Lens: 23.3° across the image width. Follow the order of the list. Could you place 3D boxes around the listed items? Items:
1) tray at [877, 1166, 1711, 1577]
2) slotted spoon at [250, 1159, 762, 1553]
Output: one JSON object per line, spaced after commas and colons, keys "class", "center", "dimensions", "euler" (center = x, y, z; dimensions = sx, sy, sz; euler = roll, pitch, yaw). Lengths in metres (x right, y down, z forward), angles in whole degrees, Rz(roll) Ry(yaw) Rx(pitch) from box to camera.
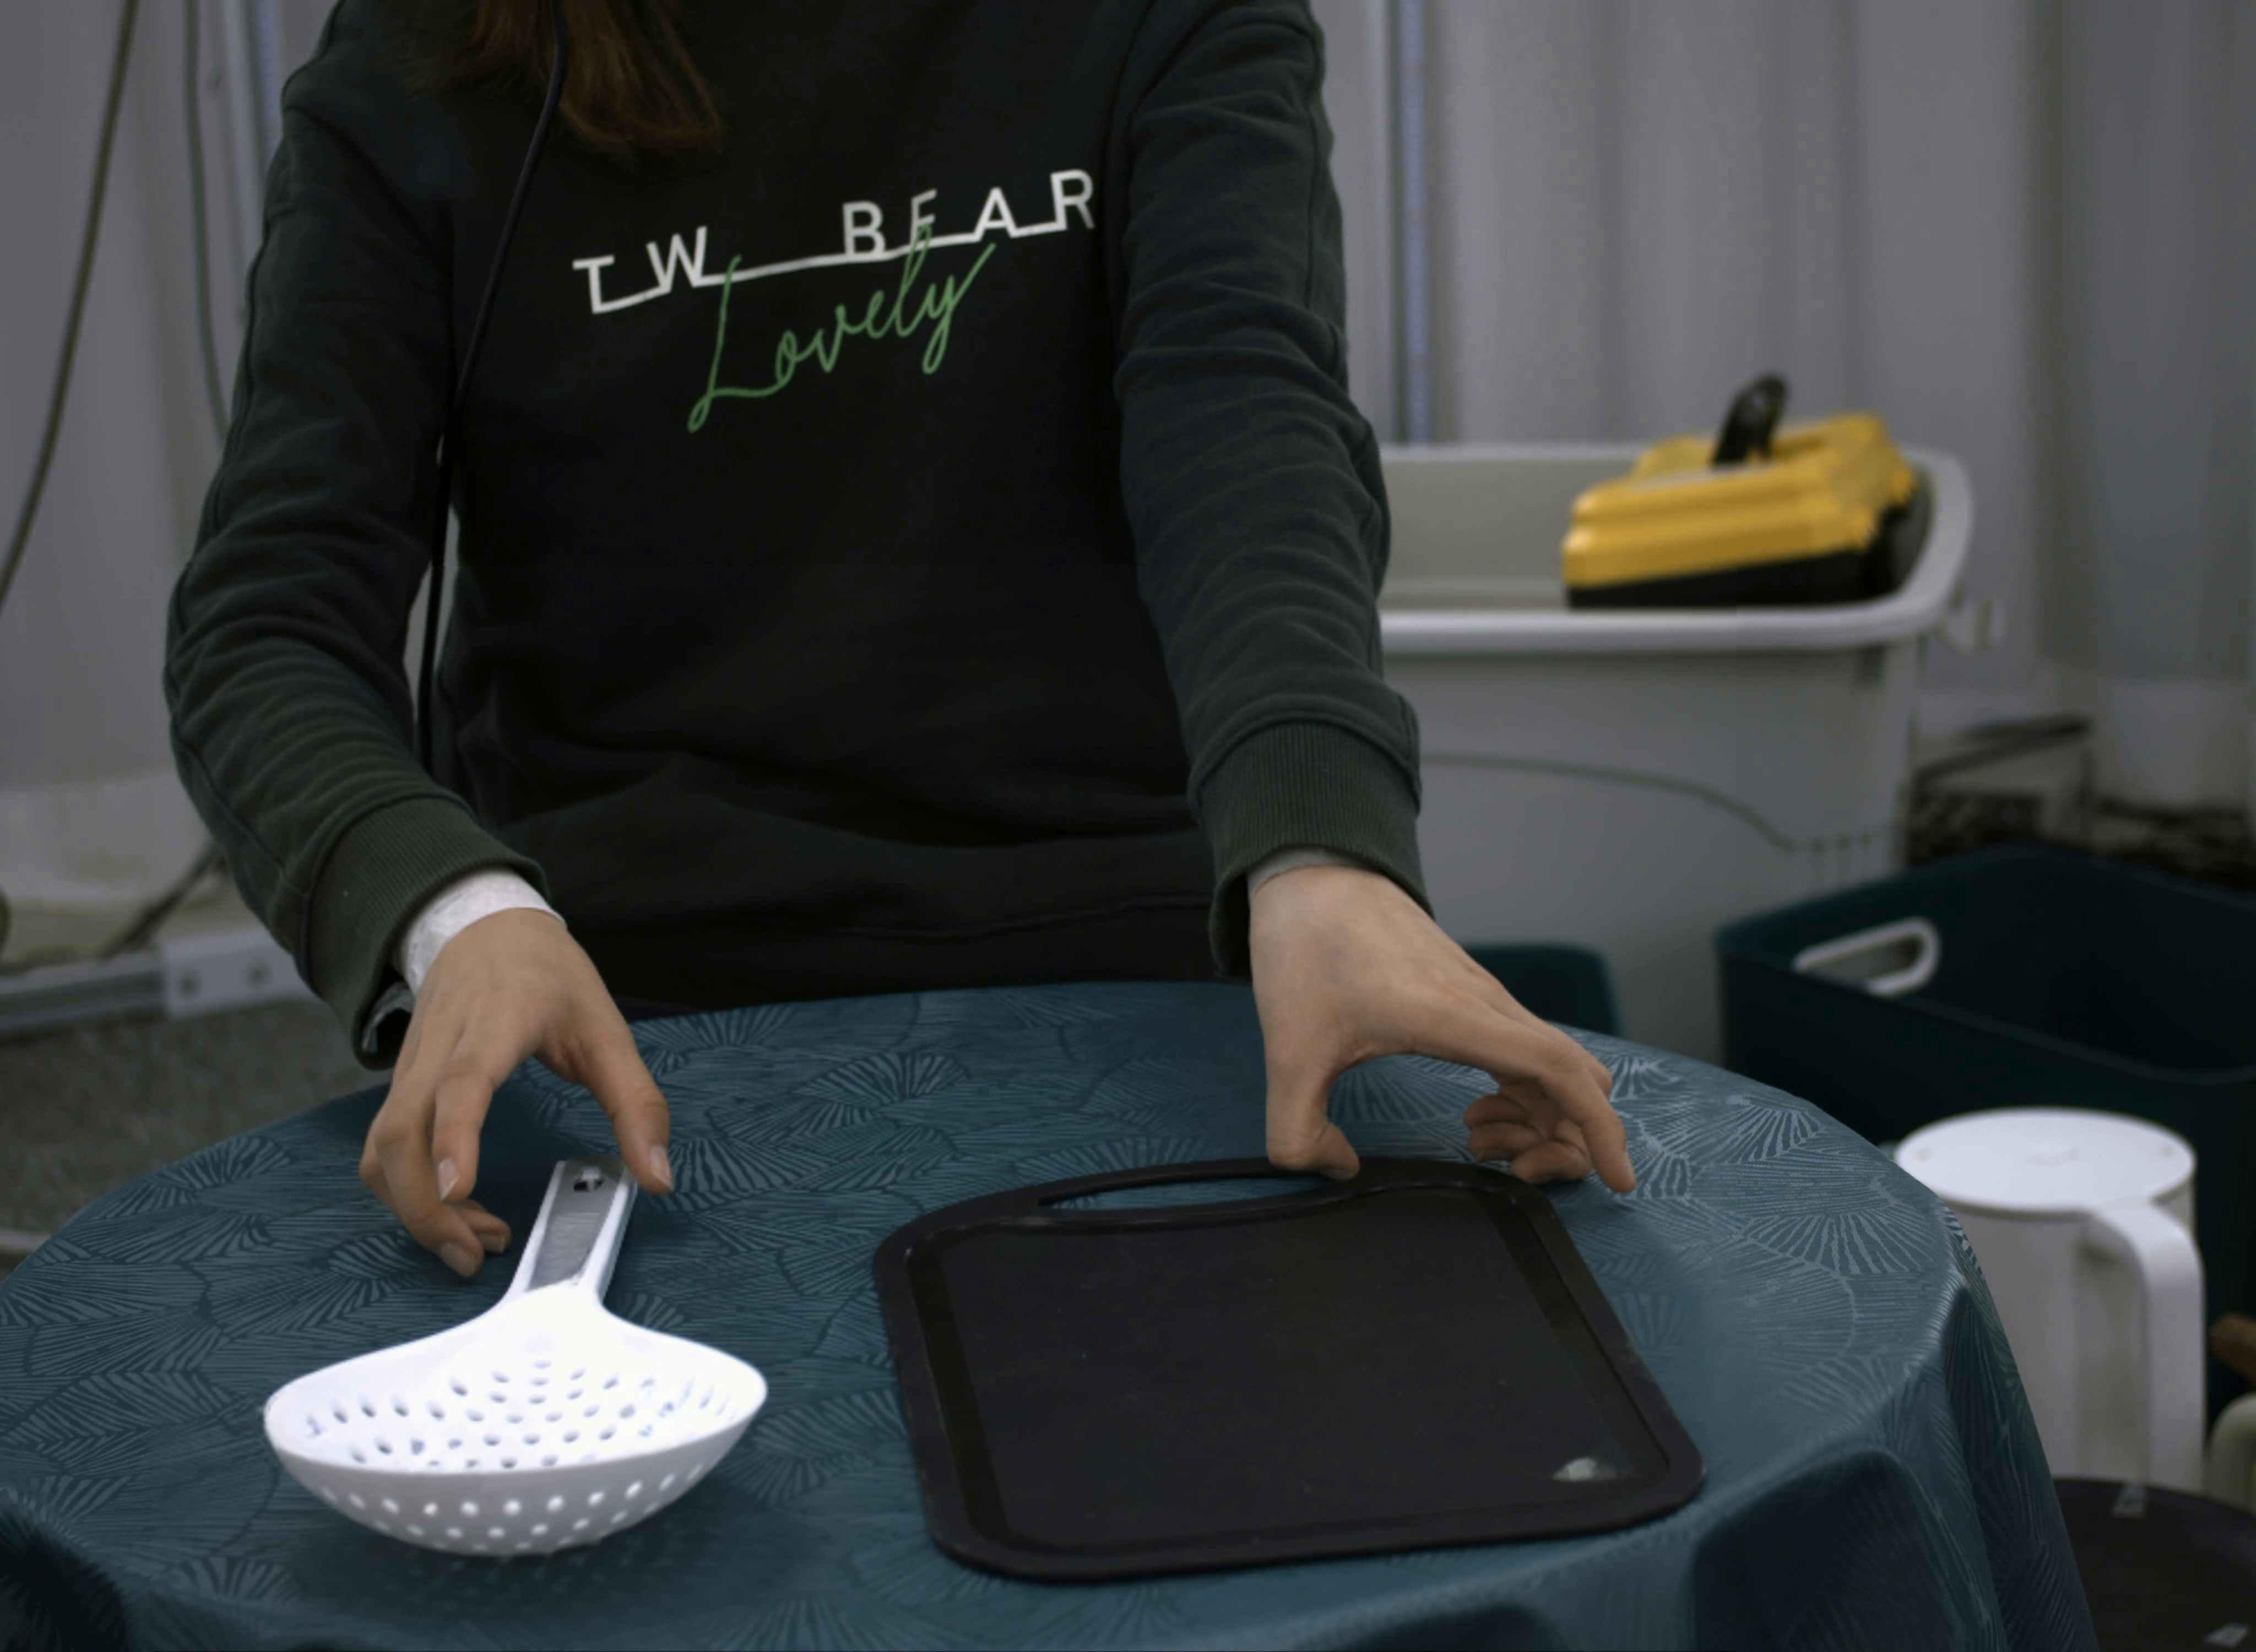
{"class": "tray", "center": [0.038, 0.148, 1.568], "dimensions": [0.210, 0.010, 0.328], "euler": [-4, 15, -6]}
{"class": "slotted spoon", "center": [-0.165, 0.141, 1.558], "dimensions": [0.135, 0.045, 0.352], "euler": [-1, 14, 0]}
